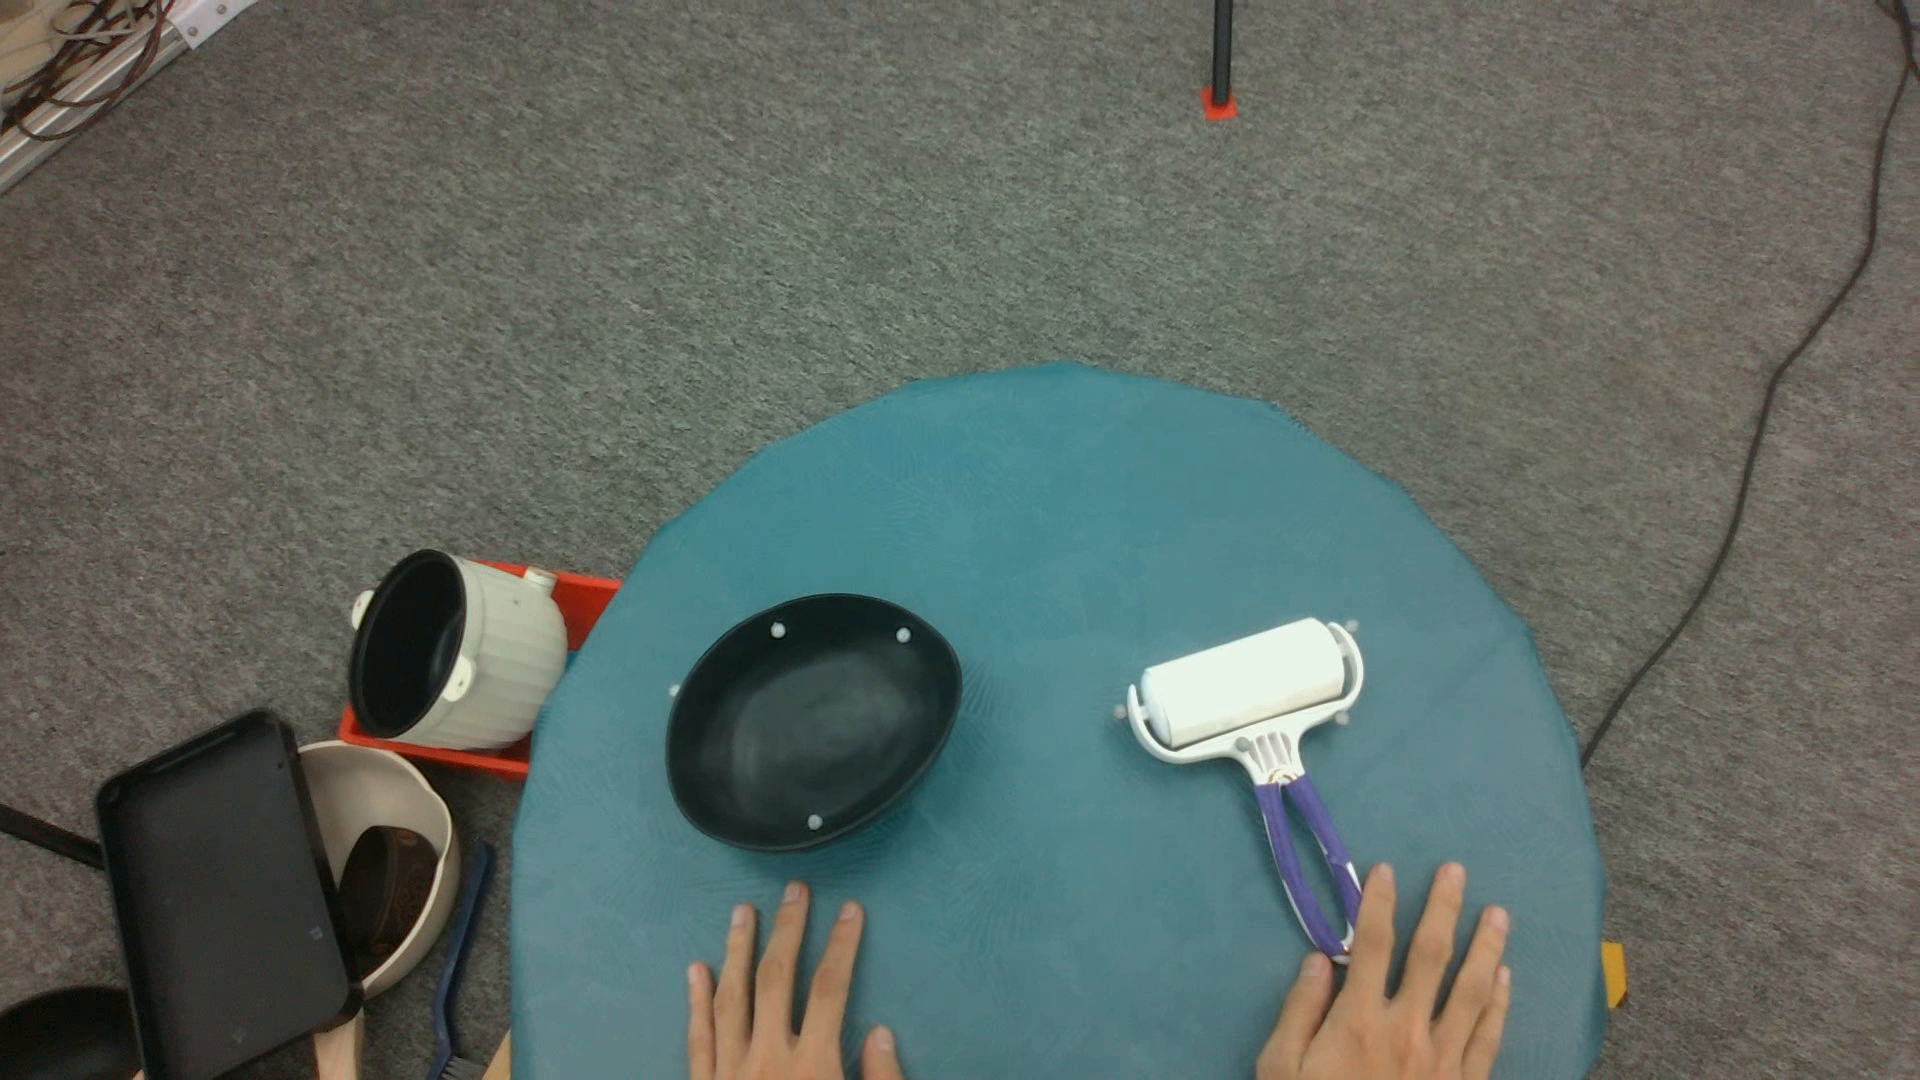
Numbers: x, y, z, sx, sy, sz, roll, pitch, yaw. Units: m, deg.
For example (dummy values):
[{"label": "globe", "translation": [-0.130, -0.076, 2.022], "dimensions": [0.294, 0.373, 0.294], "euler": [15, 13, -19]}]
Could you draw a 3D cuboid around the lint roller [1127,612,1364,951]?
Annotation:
[{"label": "lint roller", "translation": [0.176, 0.133, 0.753], "dimensions": [0.133, 0.050, 0.181], "euler": [-15, 60, -3]}]

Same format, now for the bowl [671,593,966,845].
[{"label": "bowl", "translation": [-0.078, 0.105, 0.782], "dimensions": [0.170, 0.066, 0.137], "euler": [-30, 66, -11]}]
